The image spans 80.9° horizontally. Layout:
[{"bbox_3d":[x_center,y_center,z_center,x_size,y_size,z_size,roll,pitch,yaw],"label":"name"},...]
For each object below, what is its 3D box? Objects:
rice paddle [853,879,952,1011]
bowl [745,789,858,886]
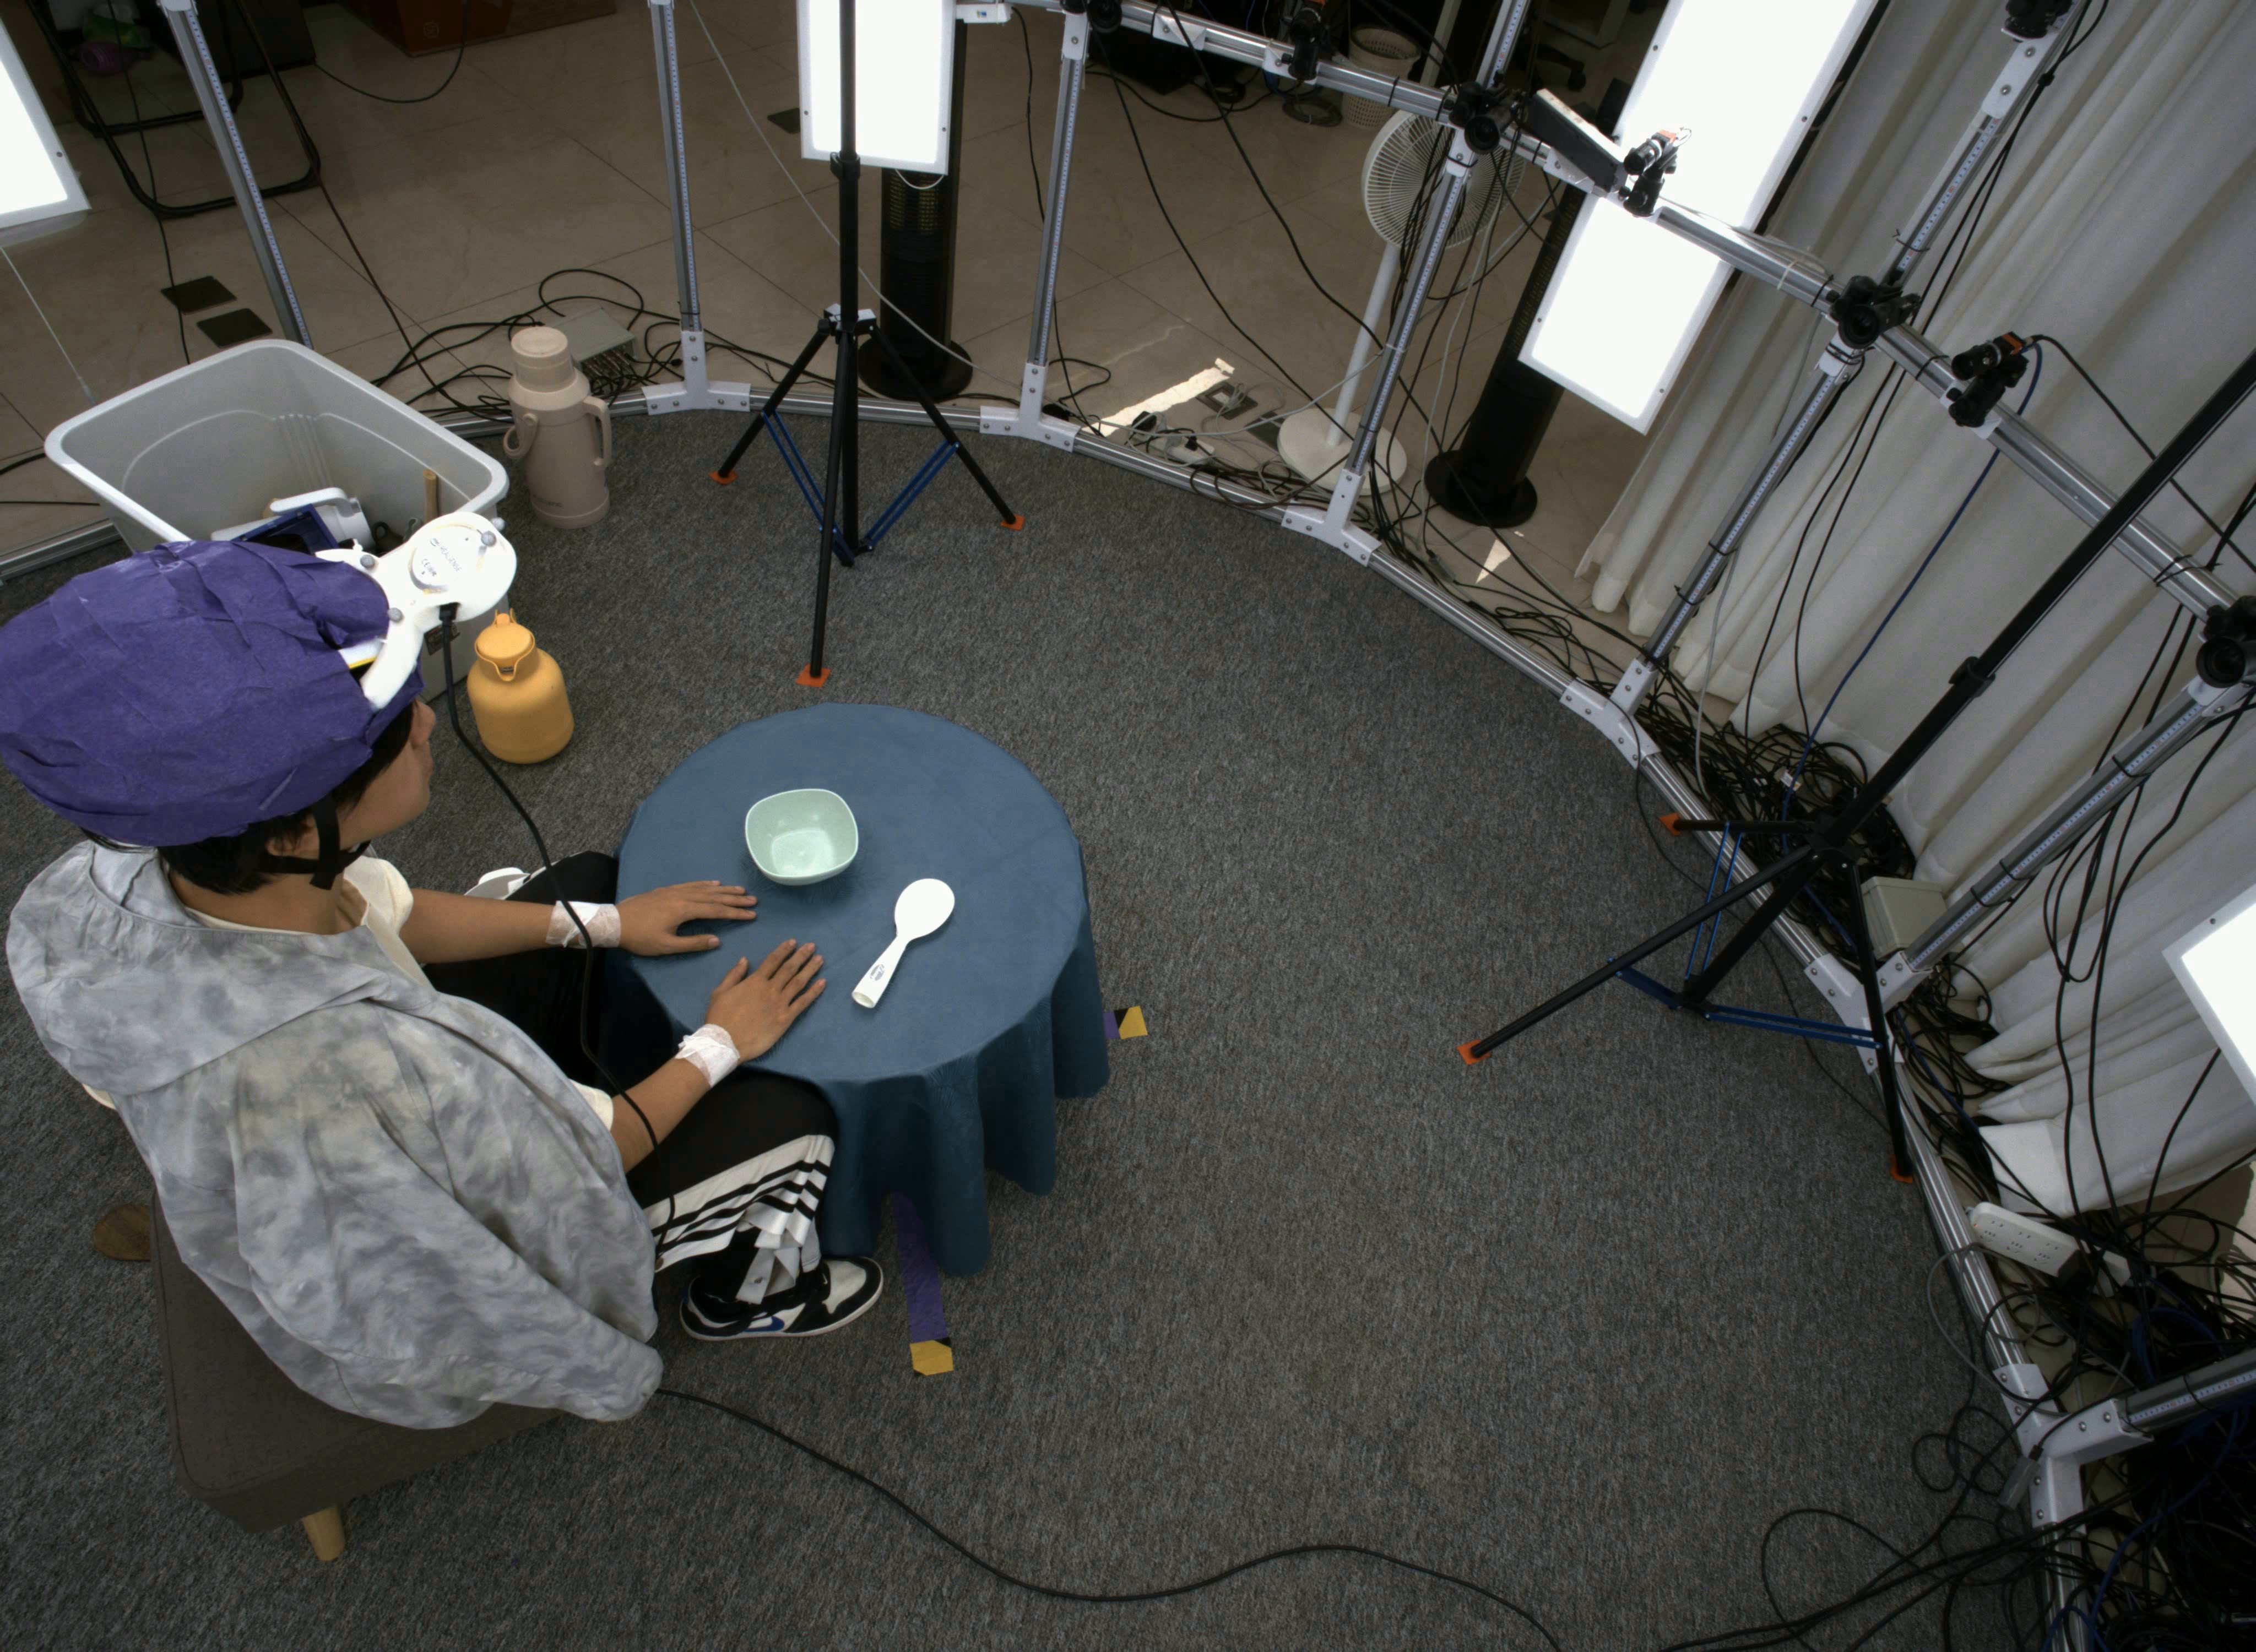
[{"bbox_3d":[-0.284,0.140,1.637,0.068,0.030,0.204,25,52,3],"label":"rice paddle"},{"bbox_3d":[-0.420,0.024,1.673,0.151,0.060,0.149,9,52,-10],"label":"bowl"}]
